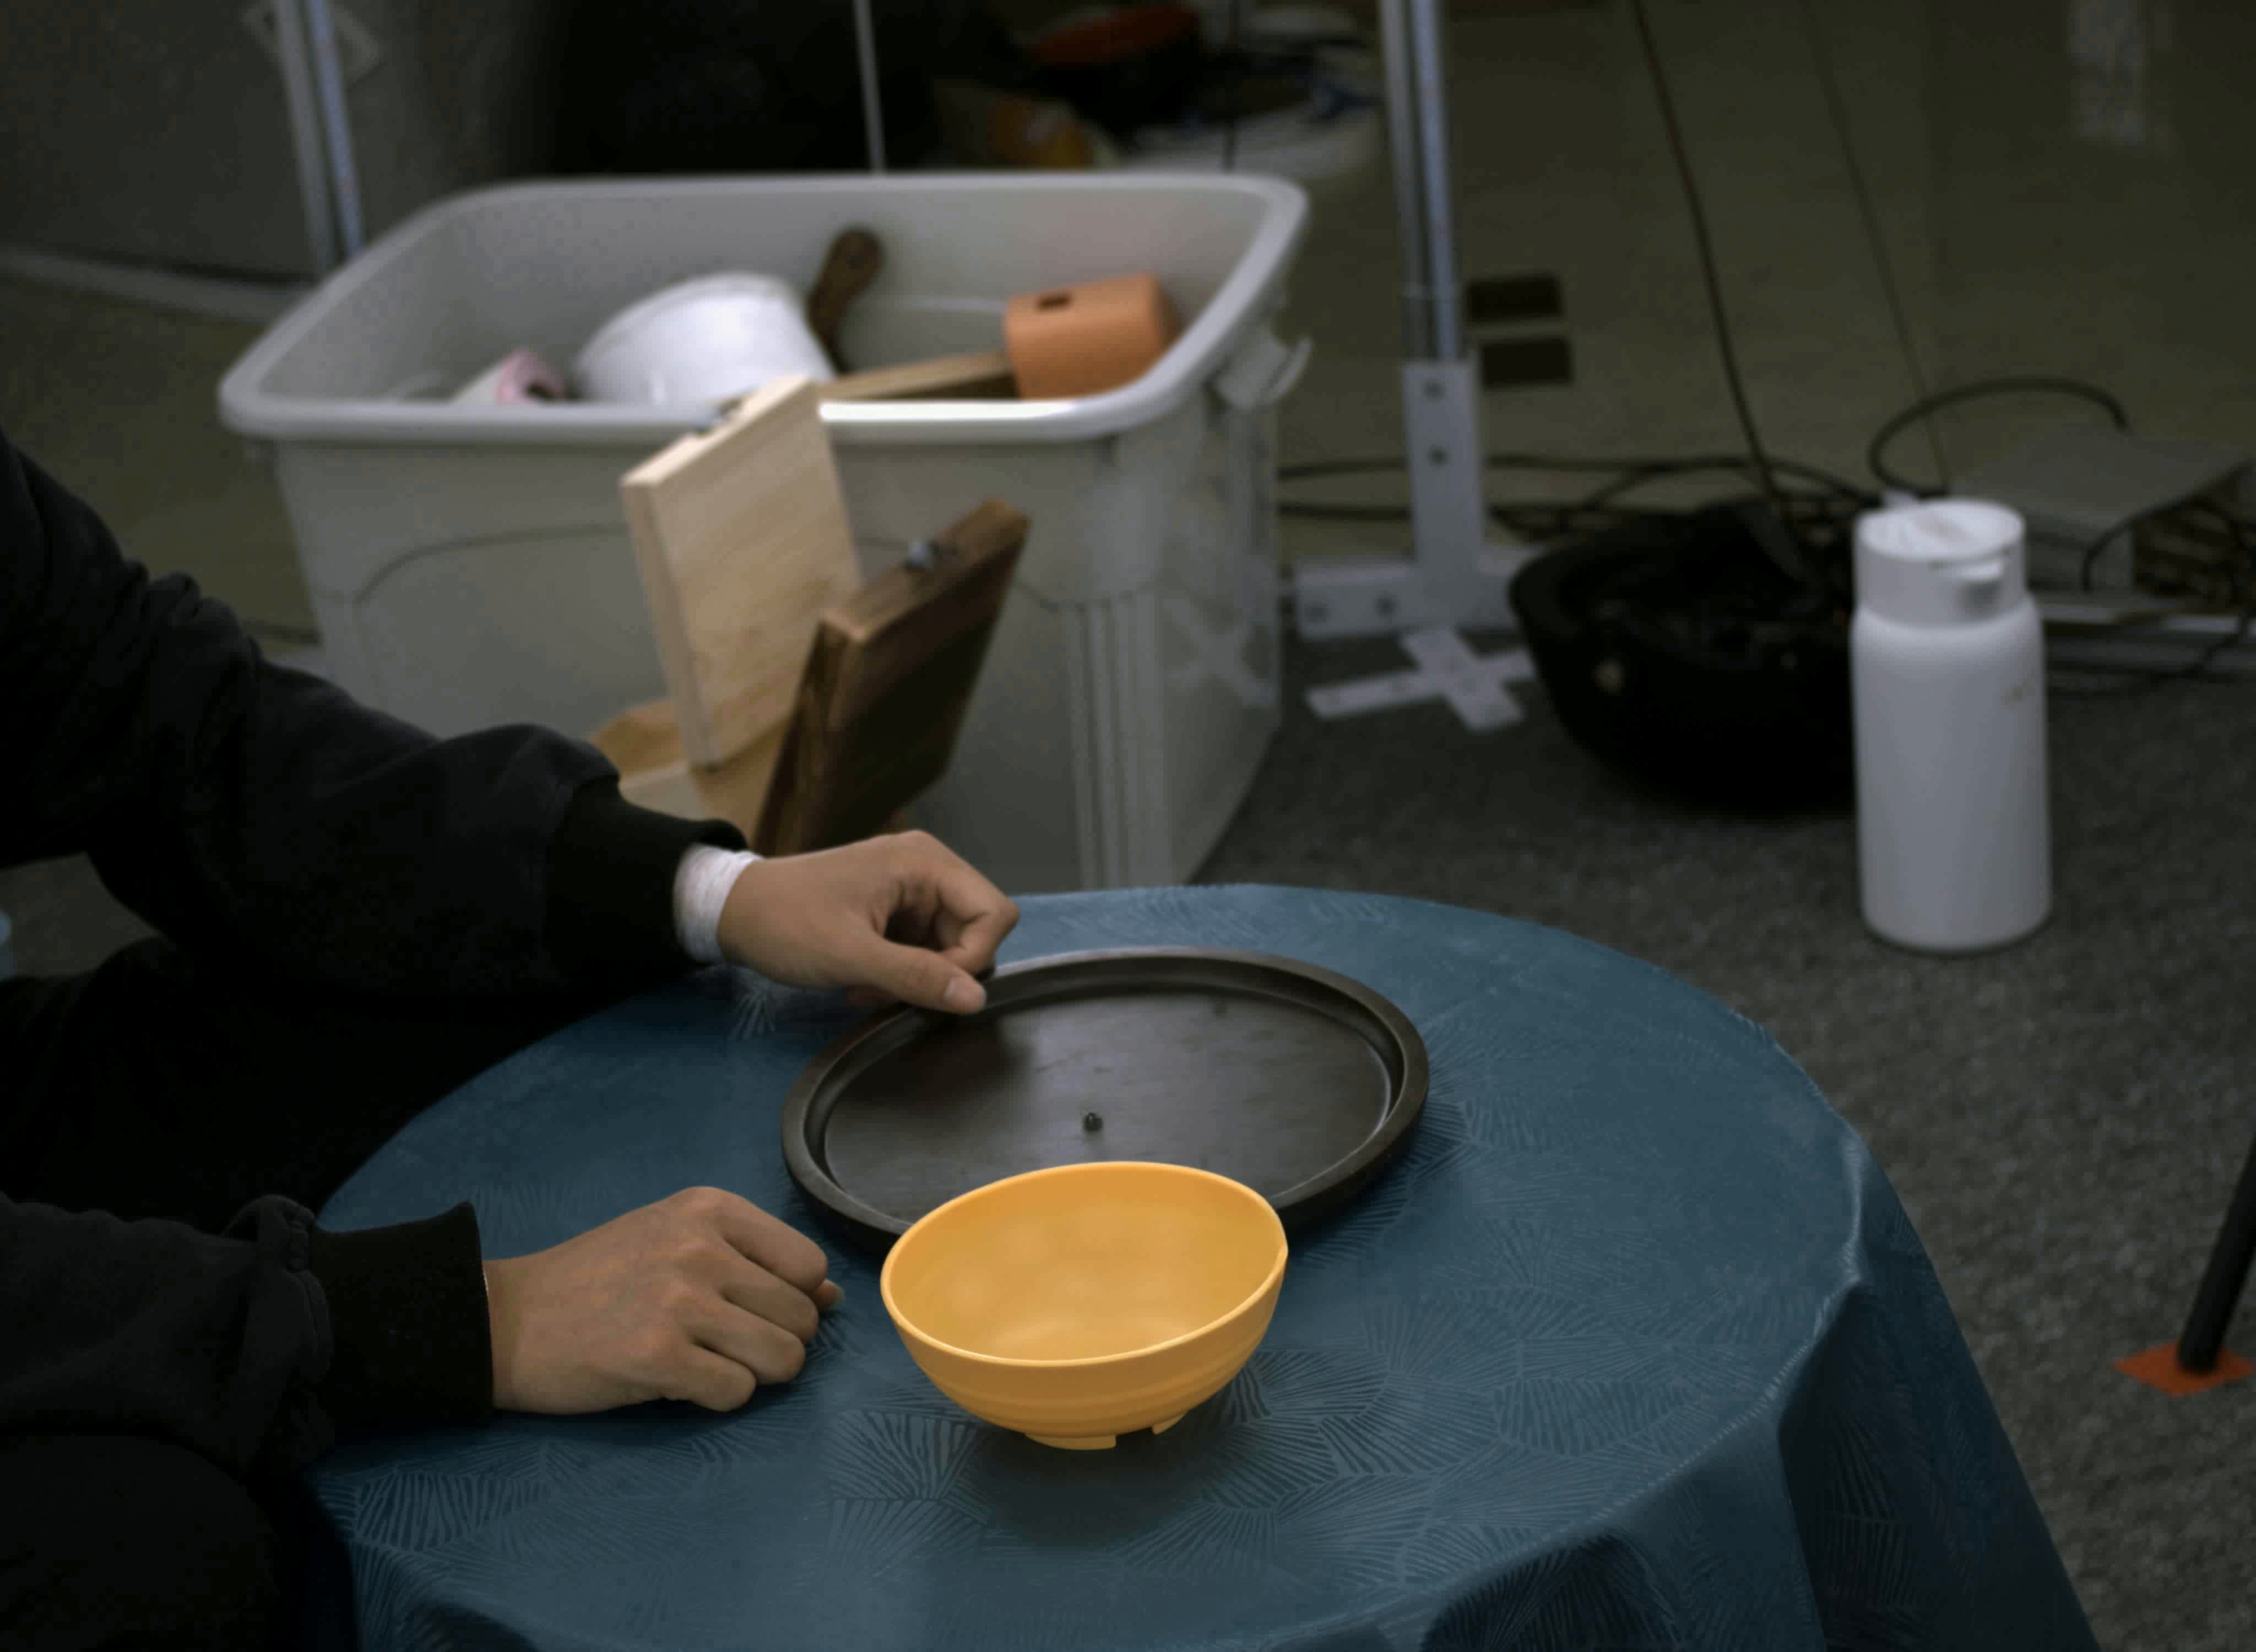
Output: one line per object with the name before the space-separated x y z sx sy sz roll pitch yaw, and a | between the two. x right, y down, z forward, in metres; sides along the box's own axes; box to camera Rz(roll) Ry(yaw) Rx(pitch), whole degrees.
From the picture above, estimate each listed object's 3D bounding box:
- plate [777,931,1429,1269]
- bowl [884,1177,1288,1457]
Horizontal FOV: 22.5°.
plate | -0.009 0.112 2.187 0.254 0.029 0.251 -6 27 3
bowl | -0.011 0.181 2.000 0.145 0.061 0.143 -7 23 3
